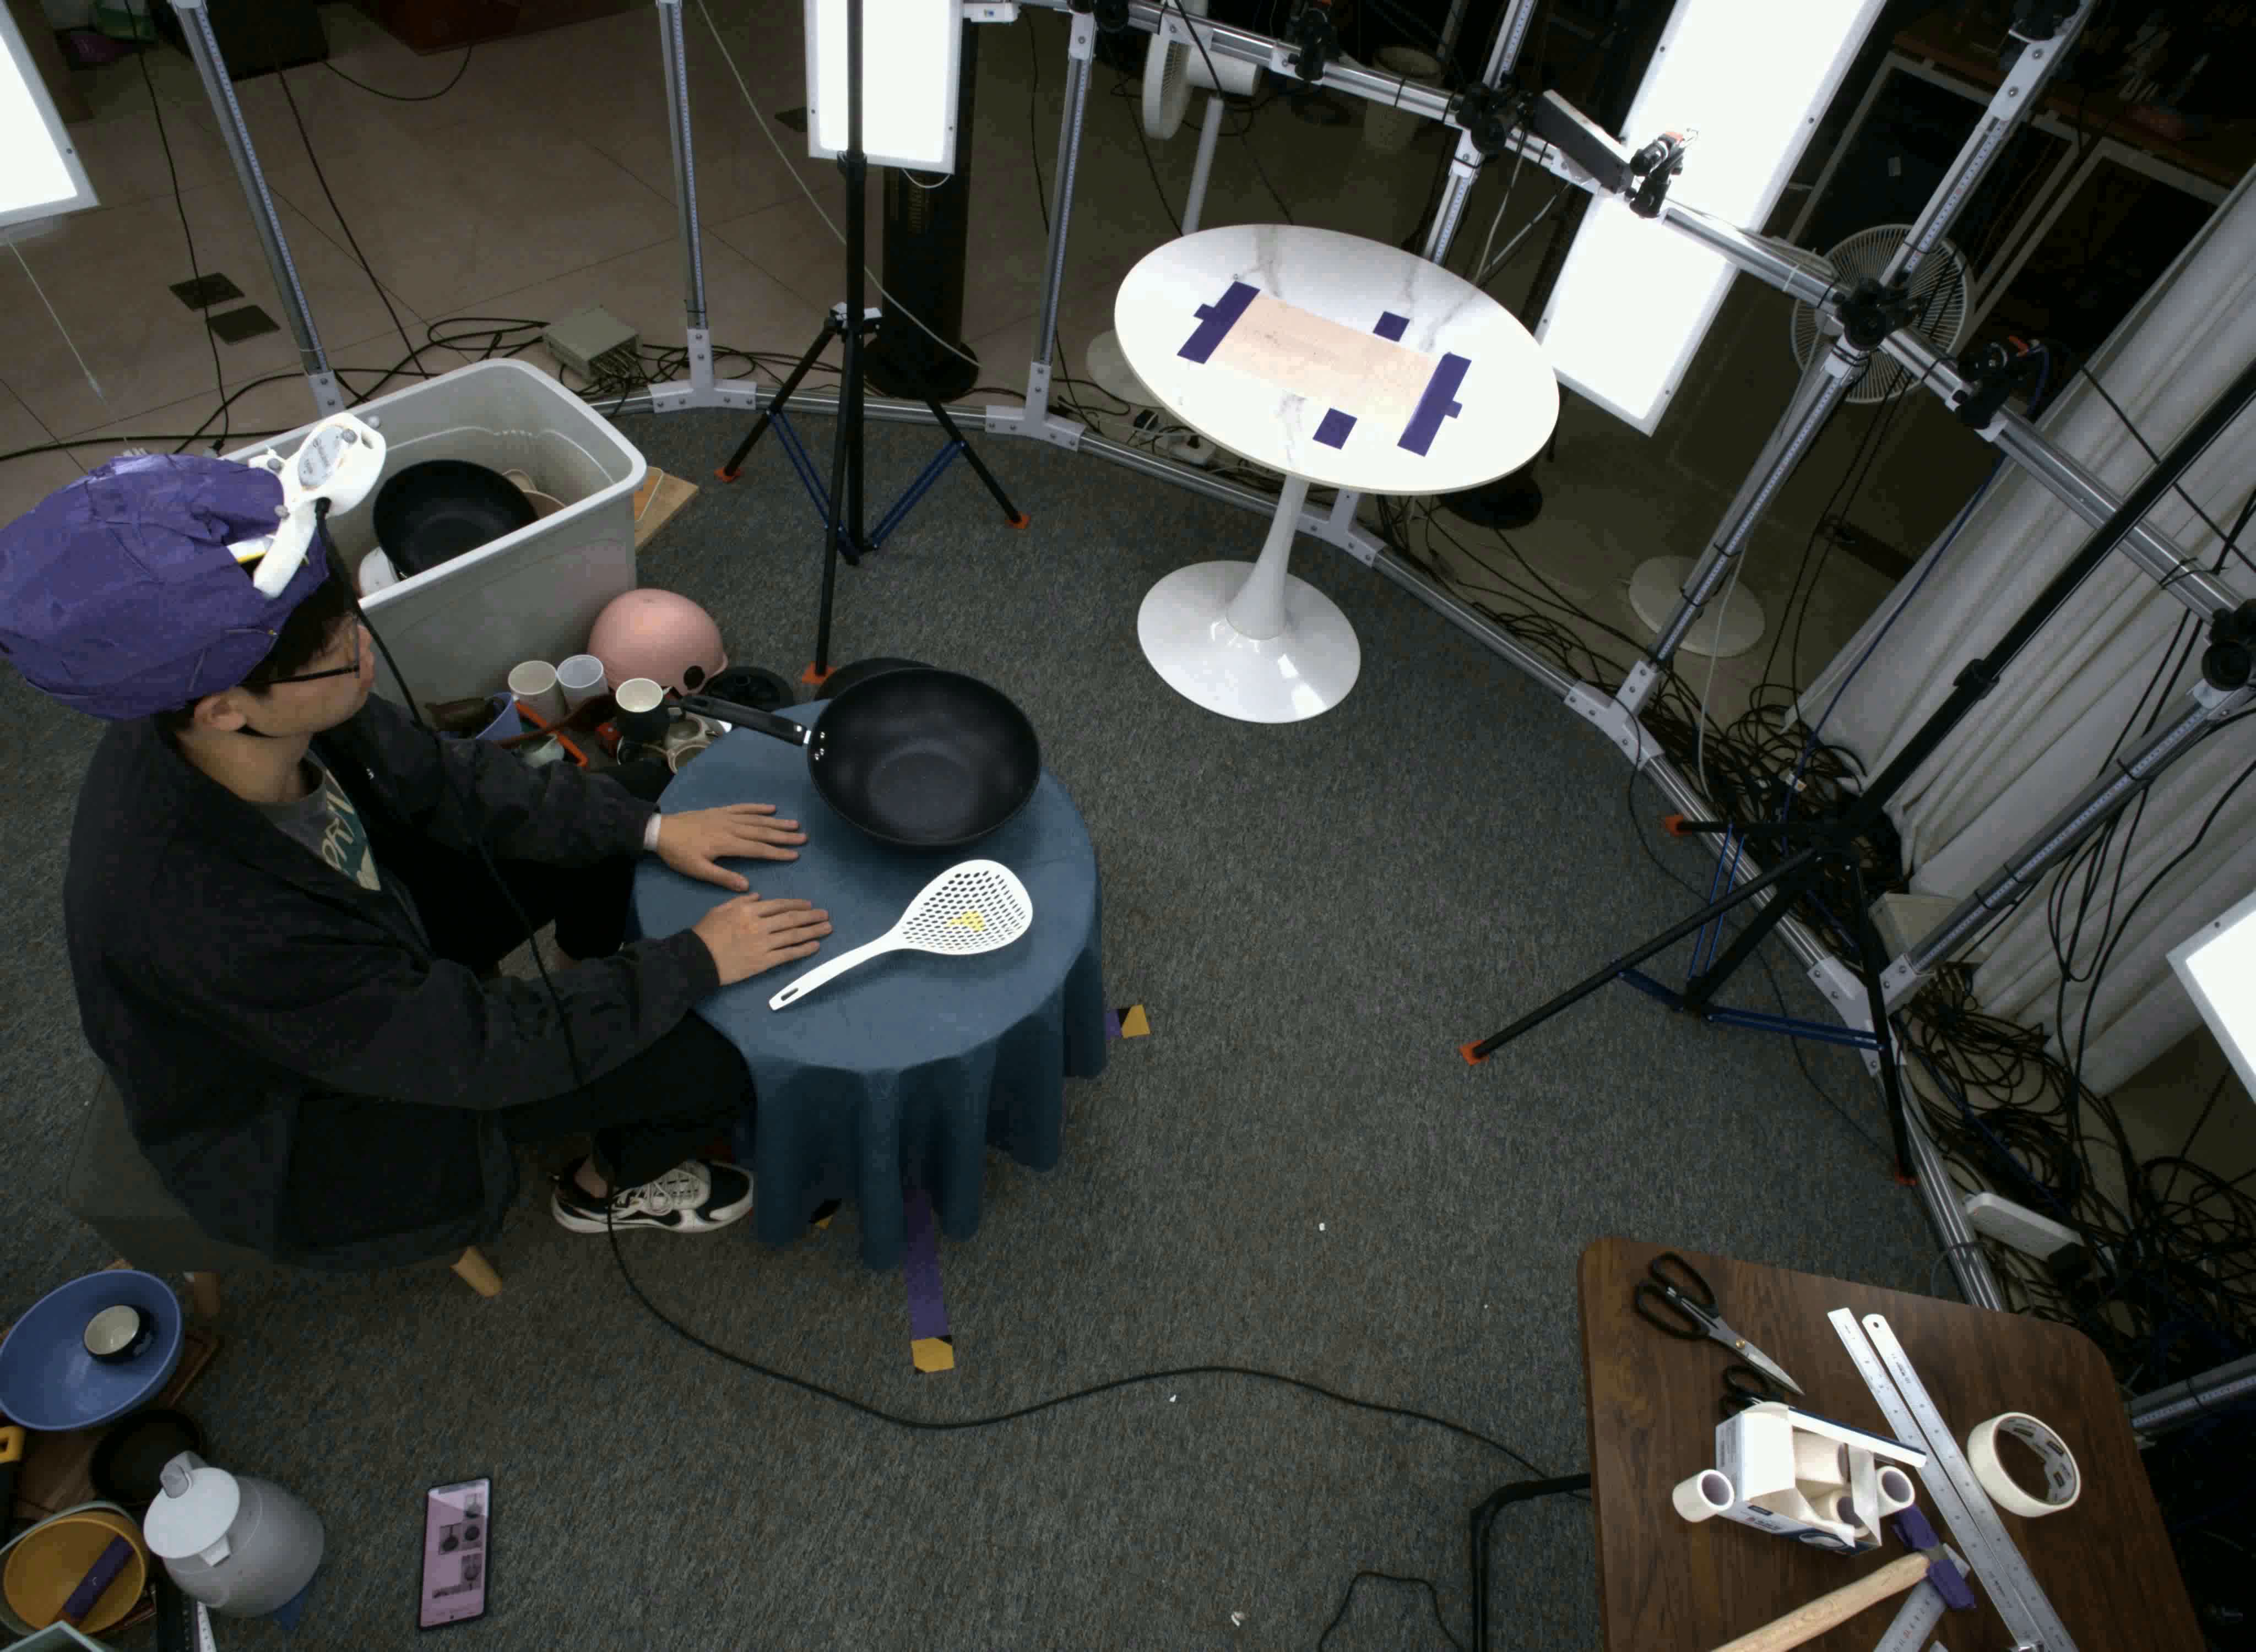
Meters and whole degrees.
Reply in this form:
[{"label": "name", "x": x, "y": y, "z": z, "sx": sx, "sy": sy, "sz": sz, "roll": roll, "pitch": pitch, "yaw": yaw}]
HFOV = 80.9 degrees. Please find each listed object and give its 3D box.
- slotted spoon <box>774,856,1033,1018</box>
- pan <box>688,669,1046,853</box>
[{"label": "slotted spoon", "x": -0.282, "y": 0.145, "z": 1.626, "sx": 0.349, "sy": 0.051, "sz": 0.133, "roll": -22, "pitch": 64, "yaw": -27}, {"label": "pan", "x": -0.349, "y": -0.094, "z": 1.746, "sx": 0.475, "sy": 0.114, "sz": 0.305, "roll": 9, "pitch": 51, "yaw": -7}]
